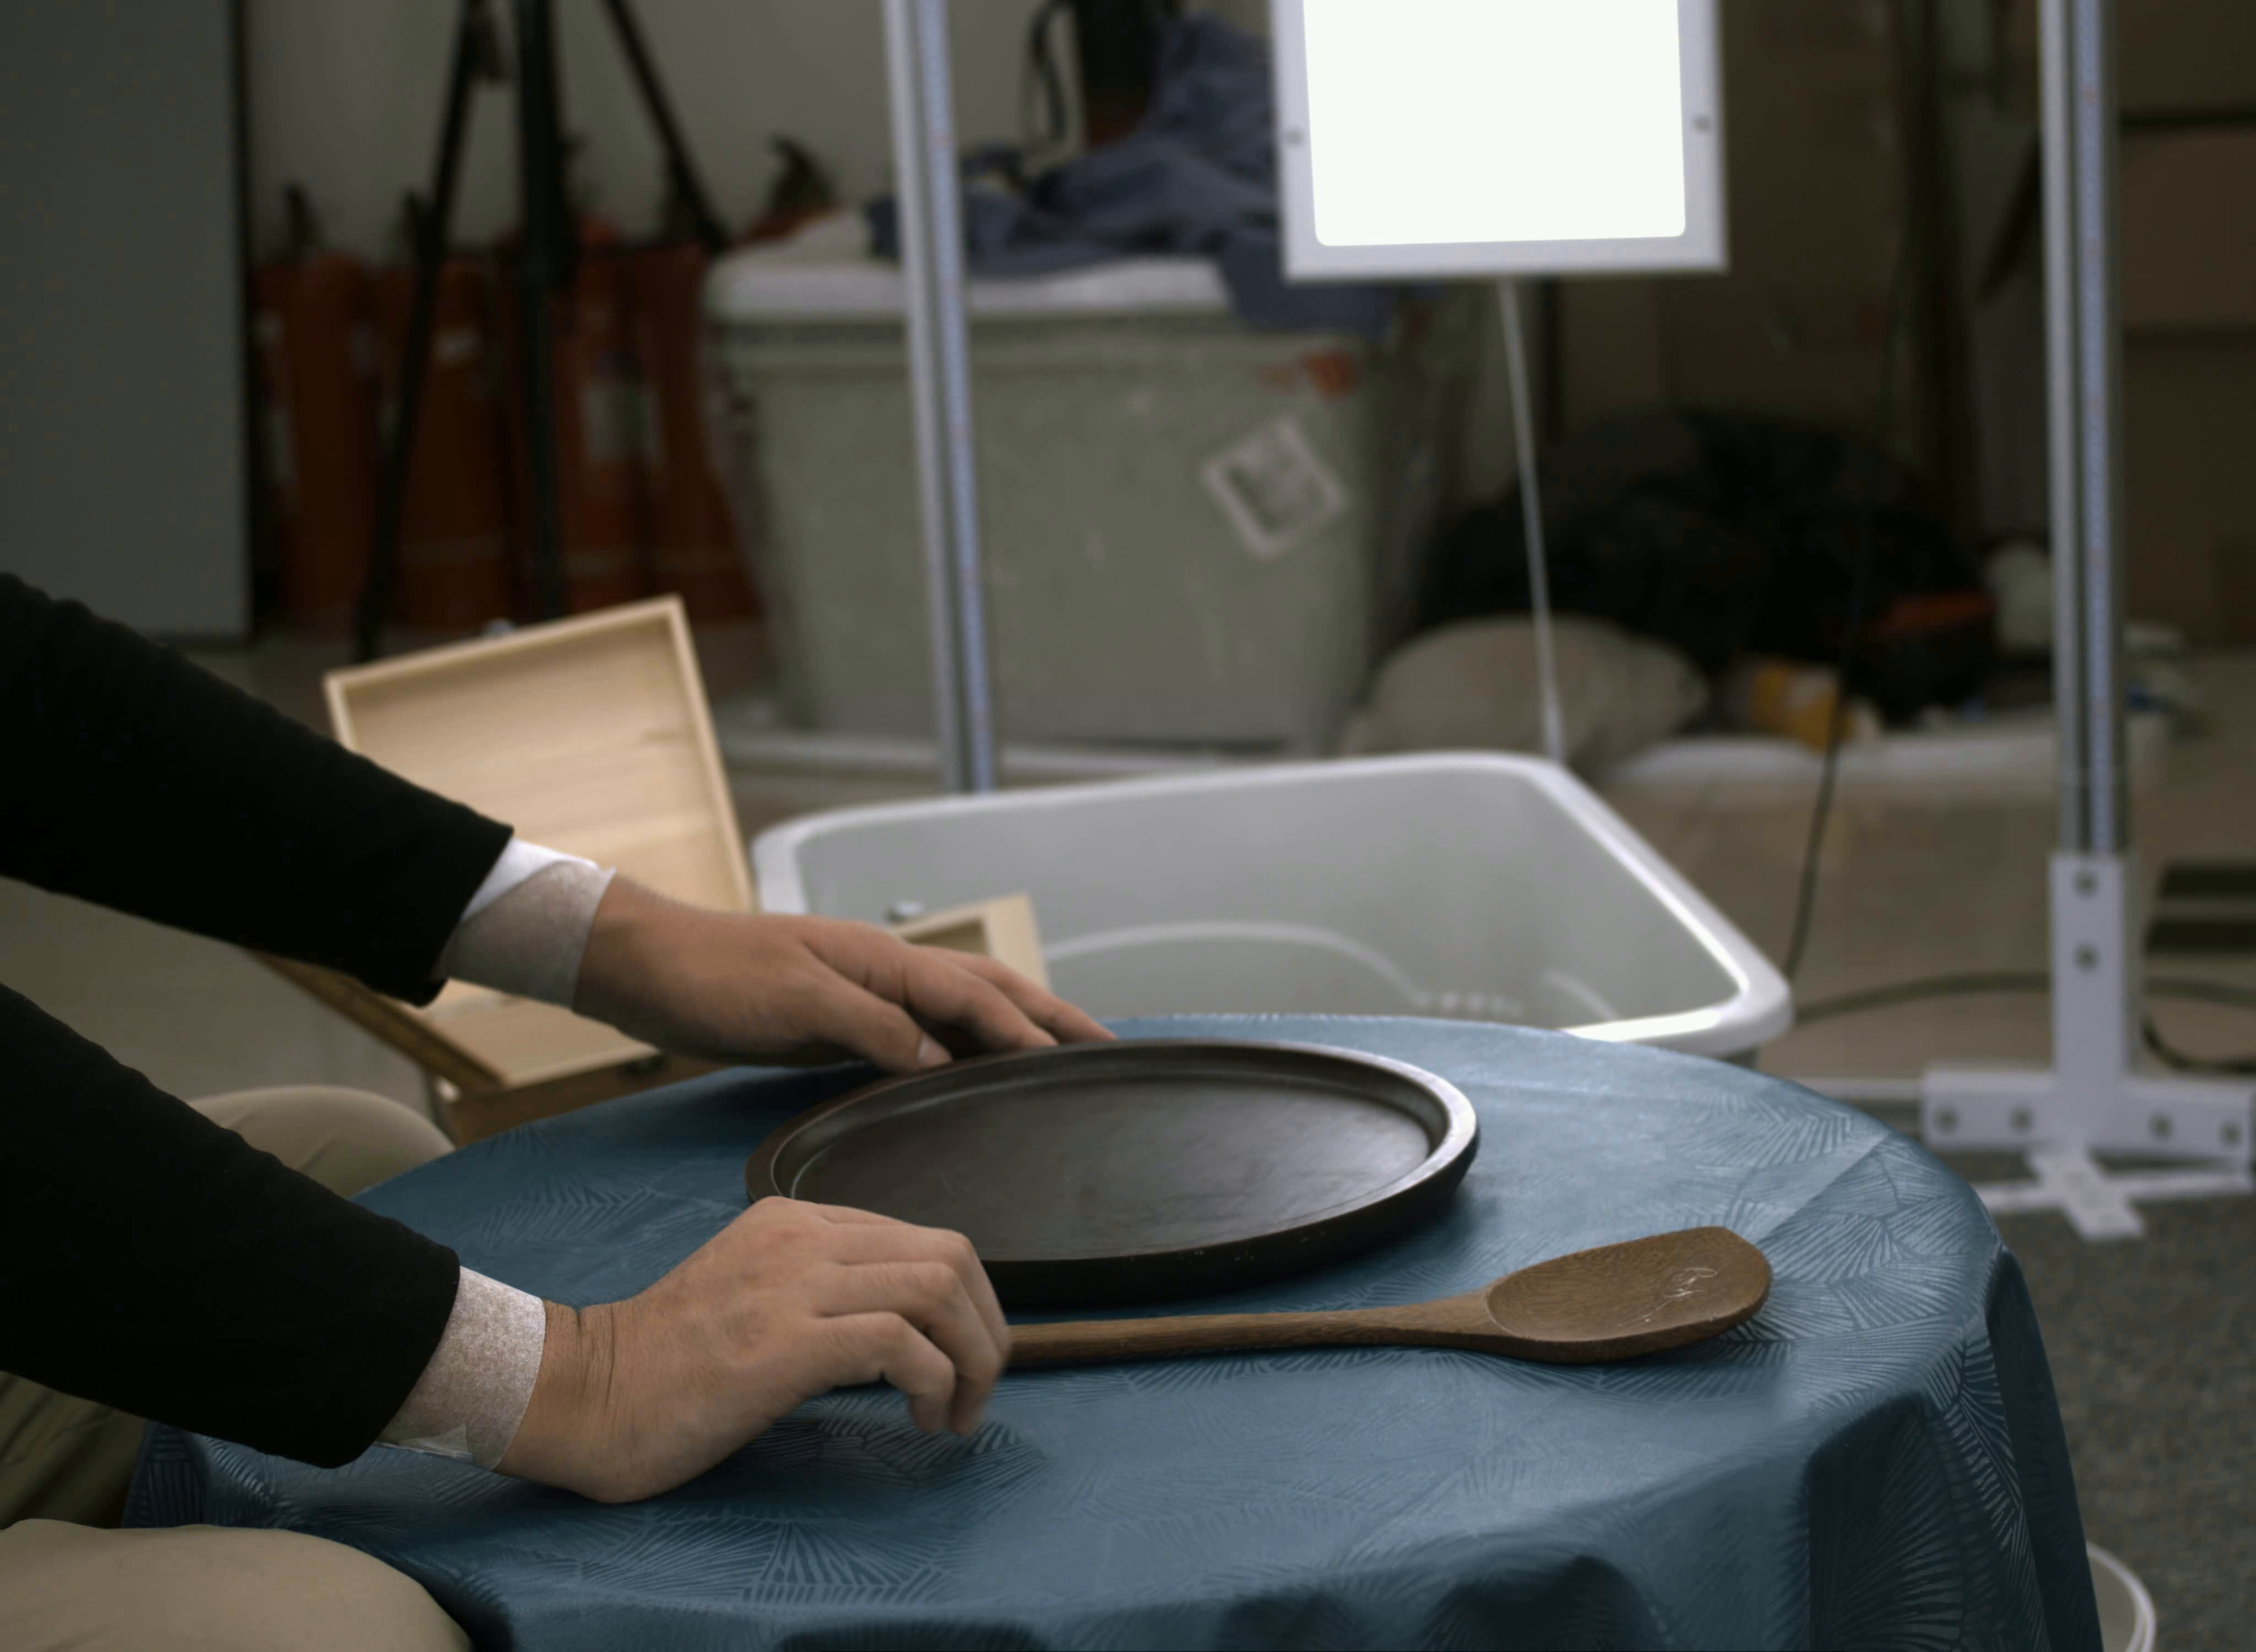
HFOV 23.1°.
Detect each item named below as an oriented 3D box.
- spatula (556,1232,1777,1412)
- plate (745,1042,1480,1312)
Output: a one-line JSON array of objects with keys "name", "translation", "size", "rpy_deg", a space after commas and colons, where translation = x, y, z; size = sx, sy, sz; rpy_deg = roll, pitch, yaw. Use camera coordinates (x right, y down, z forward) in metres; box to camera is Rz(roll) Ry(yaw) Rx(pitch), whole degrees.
[{"name": "spatula", "translation": [0.012, 0.160, 1.728], "size": [0.385, 0.016, 0.096], "rpy_deg": [-5, 13, 3]}, {"name": "plate", "translation": [-0.005, 0.117, 1.887], "size": [0.254, 0.029, 0.254], "rpy_deg": [-5, 15, 0]}]
